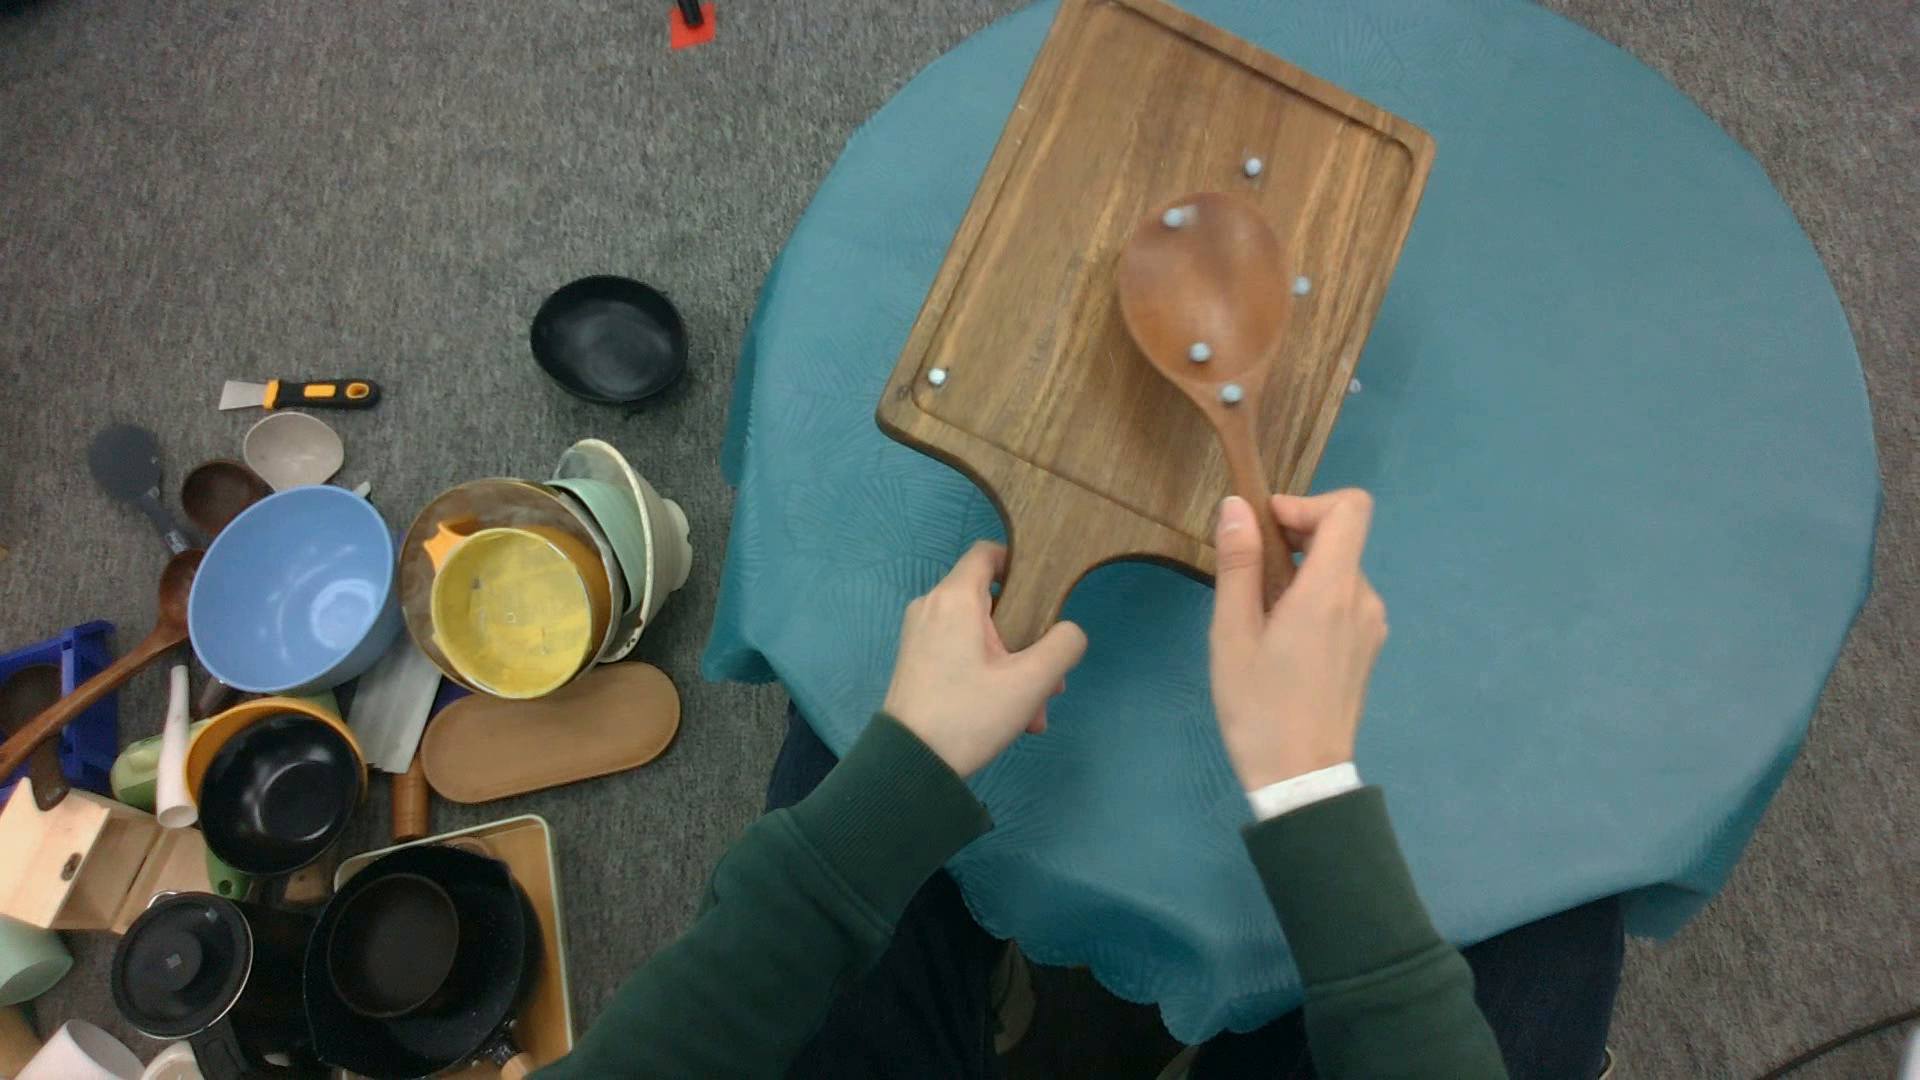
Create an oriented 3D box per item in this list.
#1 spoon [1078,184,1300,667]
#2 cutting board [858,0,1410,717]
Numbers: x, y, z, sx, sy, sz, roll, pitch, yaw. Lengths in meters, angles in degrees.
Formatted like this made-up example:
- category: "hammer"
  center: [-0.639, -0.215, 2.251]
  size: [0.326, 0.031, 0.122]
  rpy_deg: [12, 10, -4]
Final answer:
- category: "spoon"
  center: [0.103, -0.052, 0.583]
  size: [0.075, 0.017, 0.216]
  rpy_deg: [-13, 75, 1]
- category: "cutting board"
  center: [0.069, -0.084, 0.638]
  size: [0.201, 0.023, 0.353]
  rpy_deg: [25, 77, -6]
